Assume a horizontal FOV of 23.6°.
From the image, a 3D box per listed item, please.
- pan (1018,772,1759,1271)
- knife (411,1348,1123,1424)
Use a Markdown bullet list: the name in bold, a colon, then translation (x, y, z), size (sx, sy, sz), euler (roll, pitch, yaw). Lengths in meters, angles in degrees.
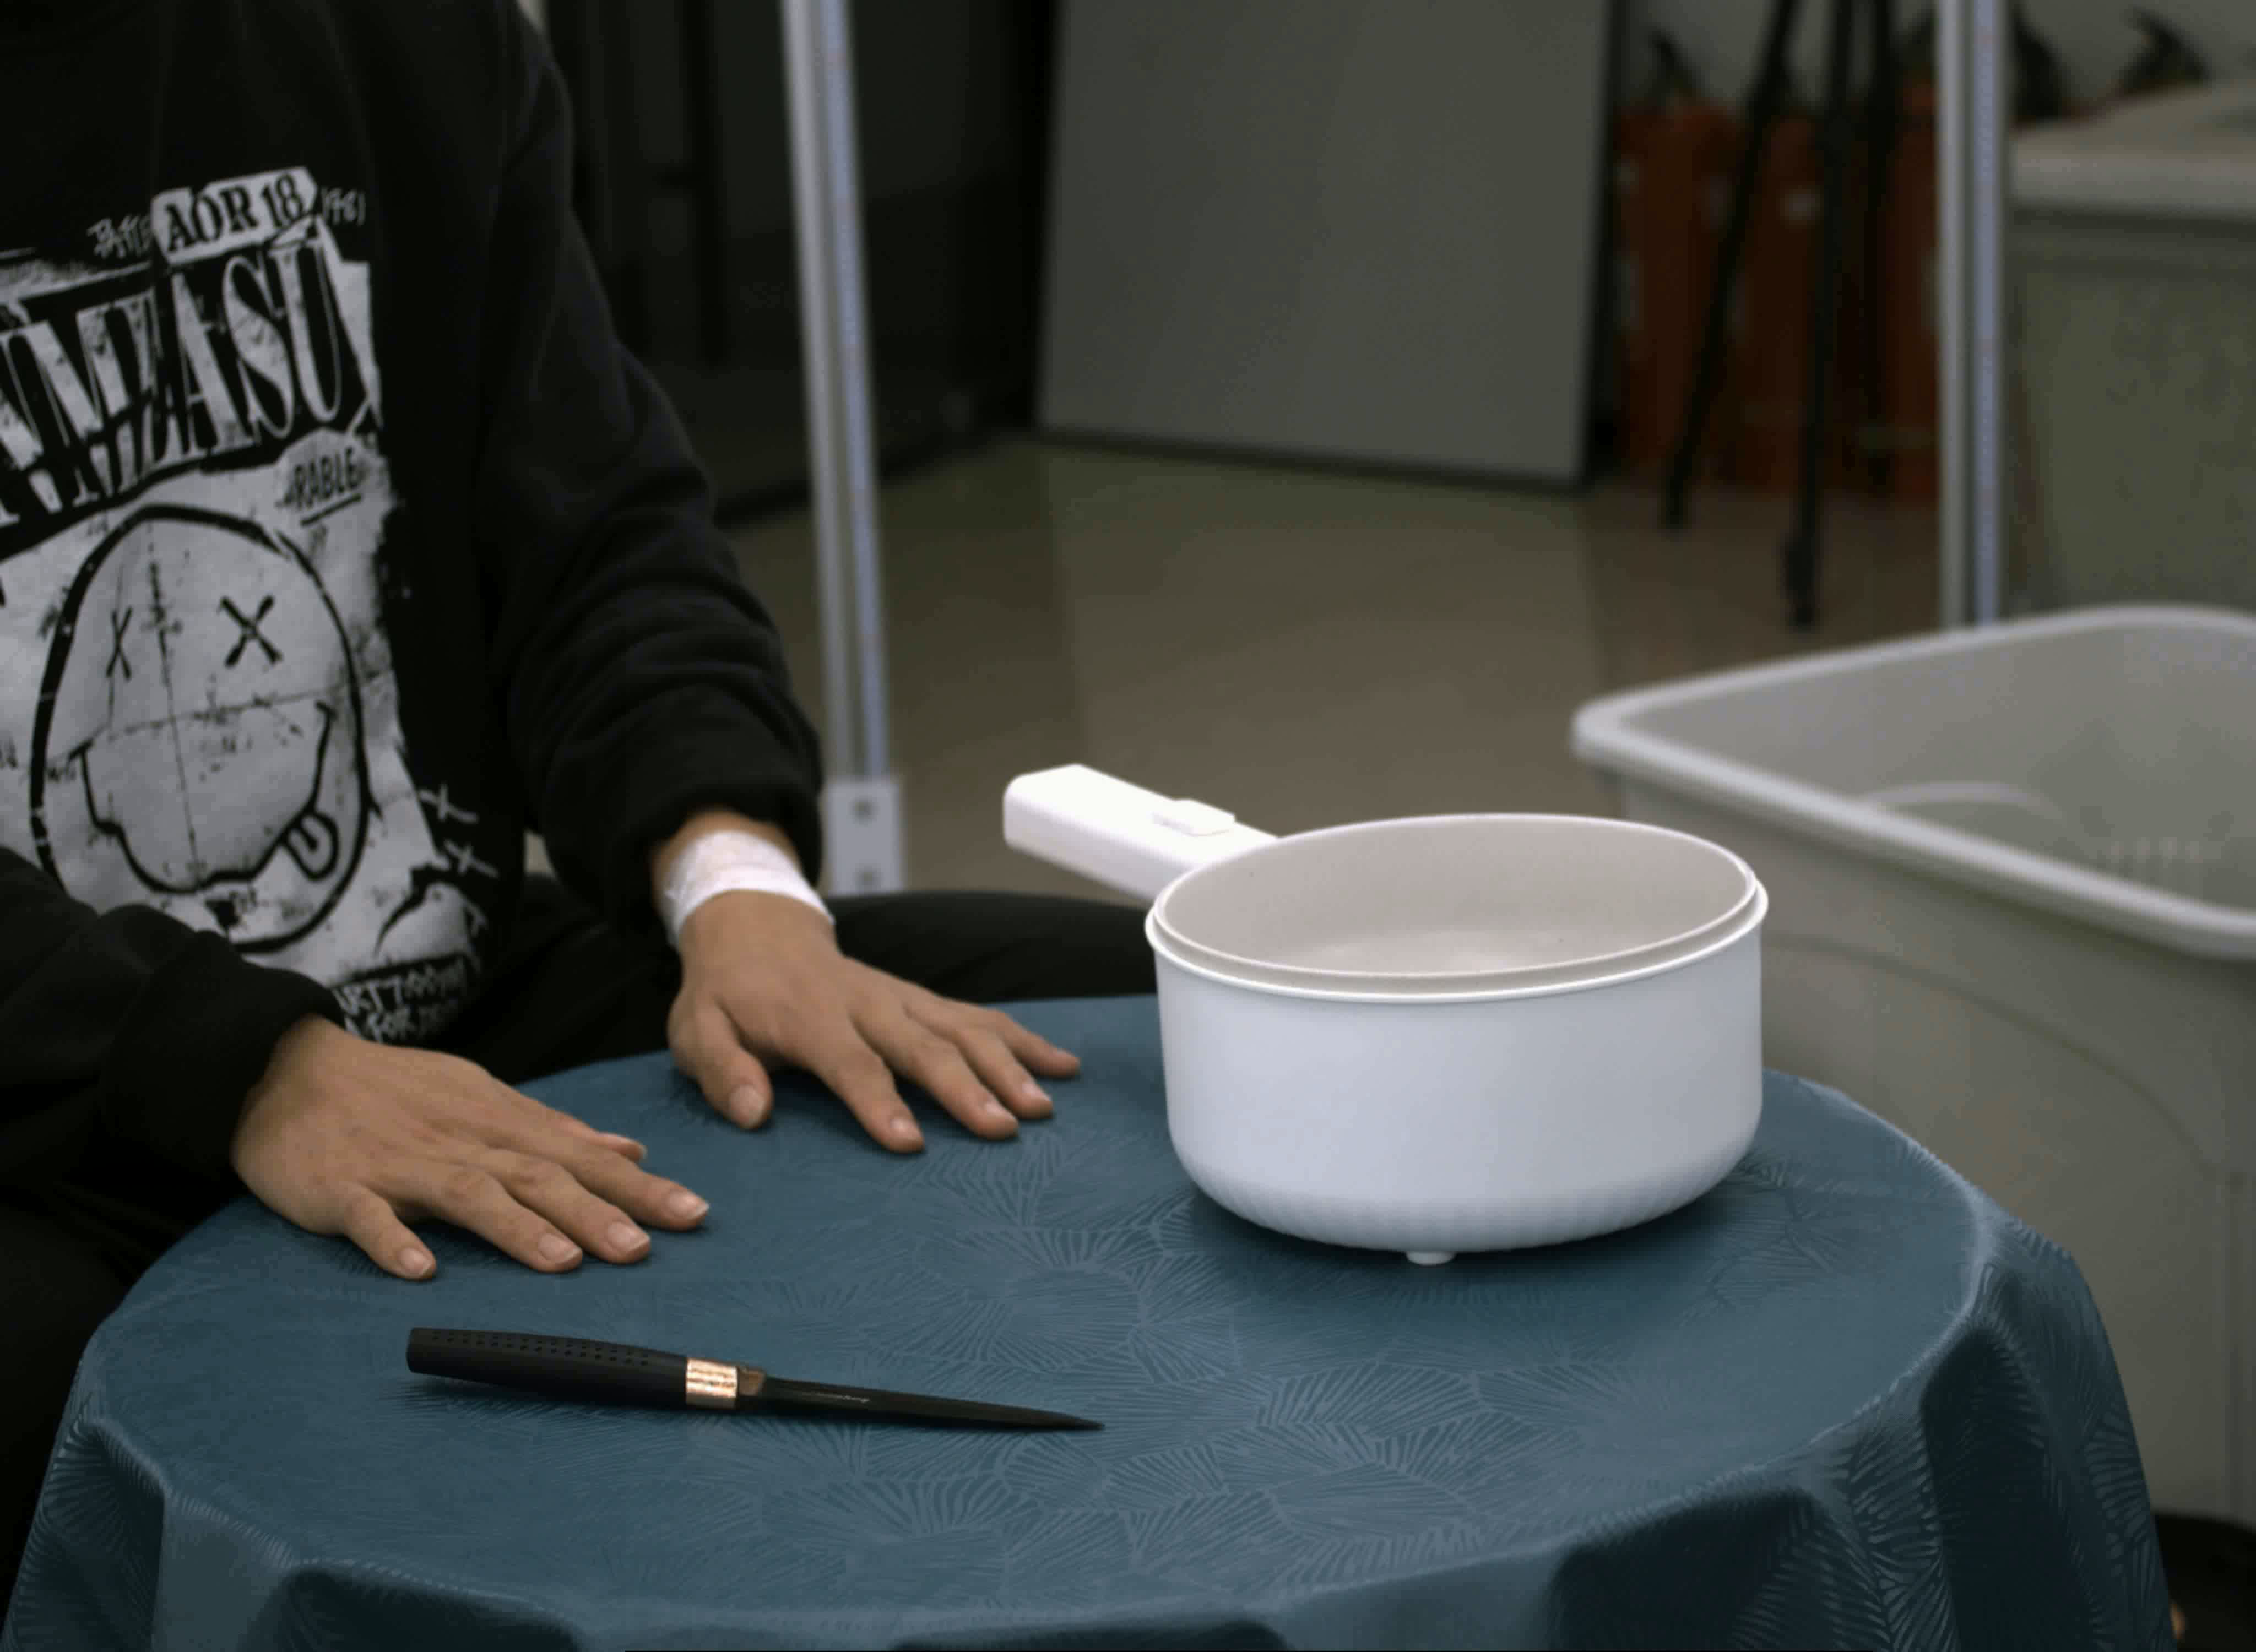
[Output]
- **pan**: translation (0.068, 0.058, 1.809), size (0.197, 0.103, 0.358), euler (-14, 16, -29)
- **knife**: translation (-0.108, 0.168, 1.600), size (0.225, 0.017, 0.026), euler (2, 1, 21)
